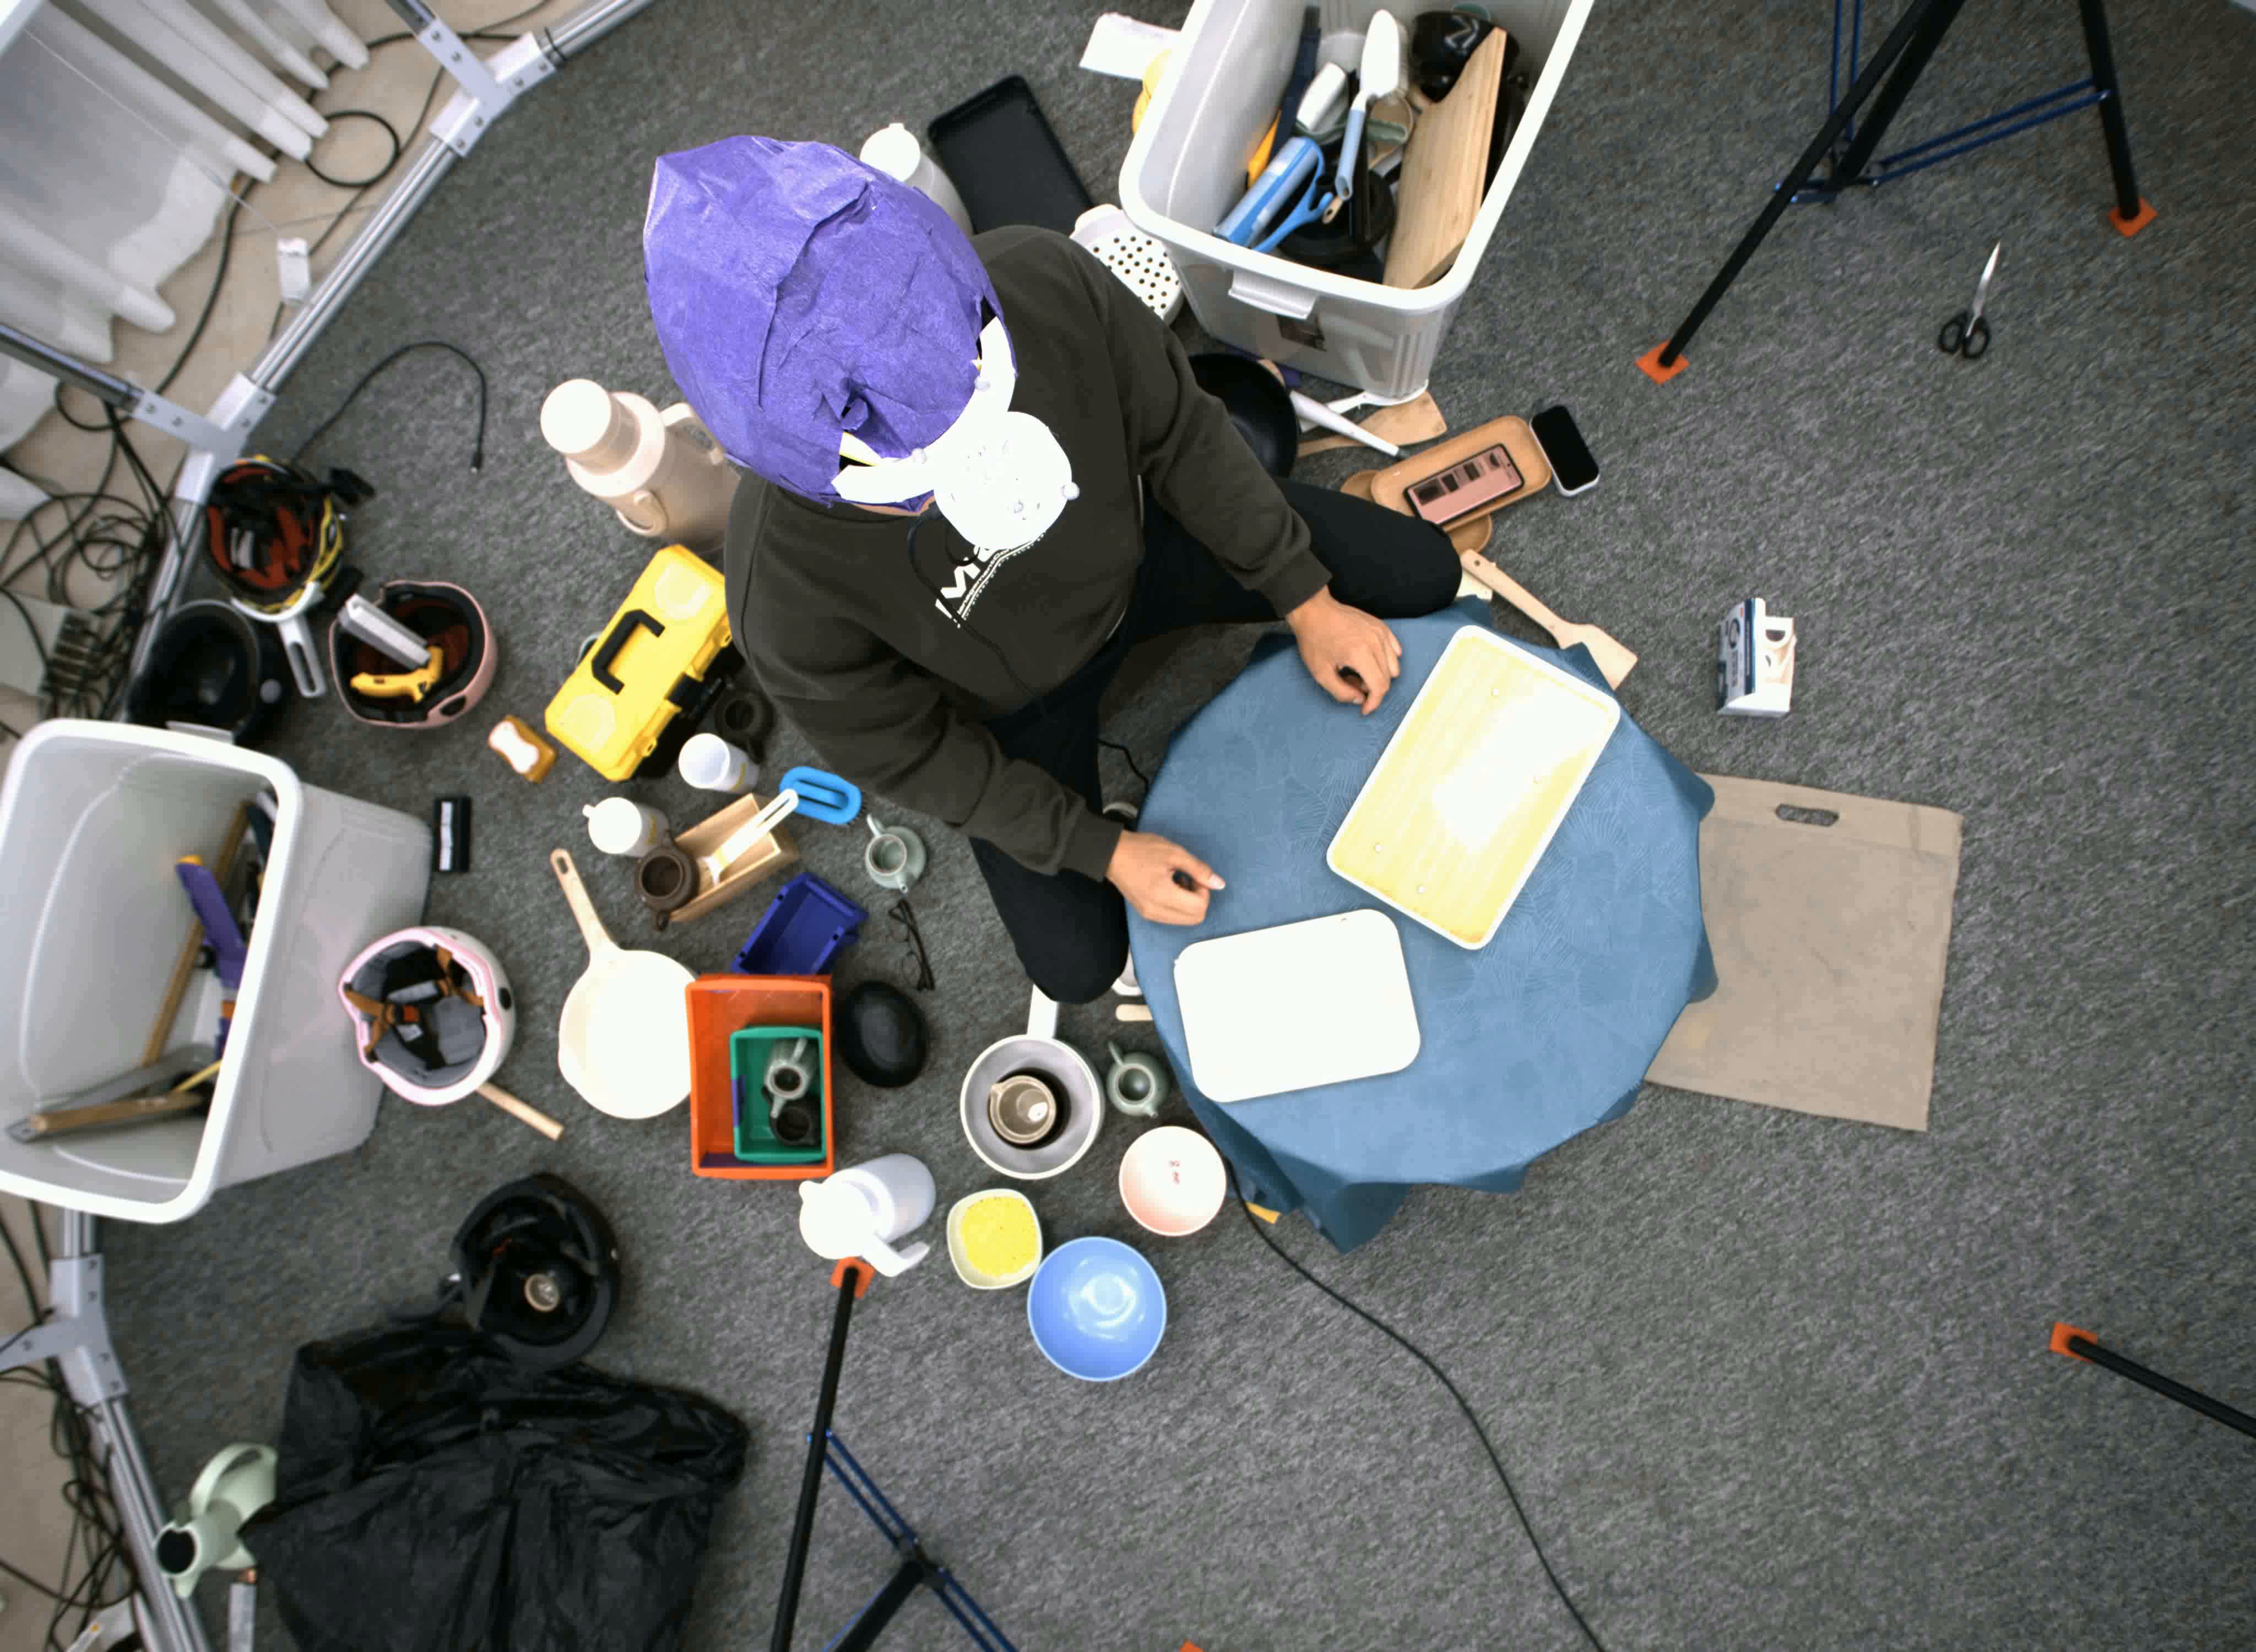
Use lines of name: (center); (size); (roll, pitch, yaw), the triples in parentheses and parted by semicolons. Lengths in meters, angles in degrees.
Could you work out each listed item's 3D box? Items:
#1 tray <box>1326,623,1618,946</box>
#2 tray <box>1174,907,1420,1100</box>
tray: (0.358, -0.046, 1.437); (0.191, 0.027, 0.300); (31, 92, 11)
tray: (0.177, 0.186, 1.462); (0.241, 0.017, 0.170); (-12, 85, 10)
